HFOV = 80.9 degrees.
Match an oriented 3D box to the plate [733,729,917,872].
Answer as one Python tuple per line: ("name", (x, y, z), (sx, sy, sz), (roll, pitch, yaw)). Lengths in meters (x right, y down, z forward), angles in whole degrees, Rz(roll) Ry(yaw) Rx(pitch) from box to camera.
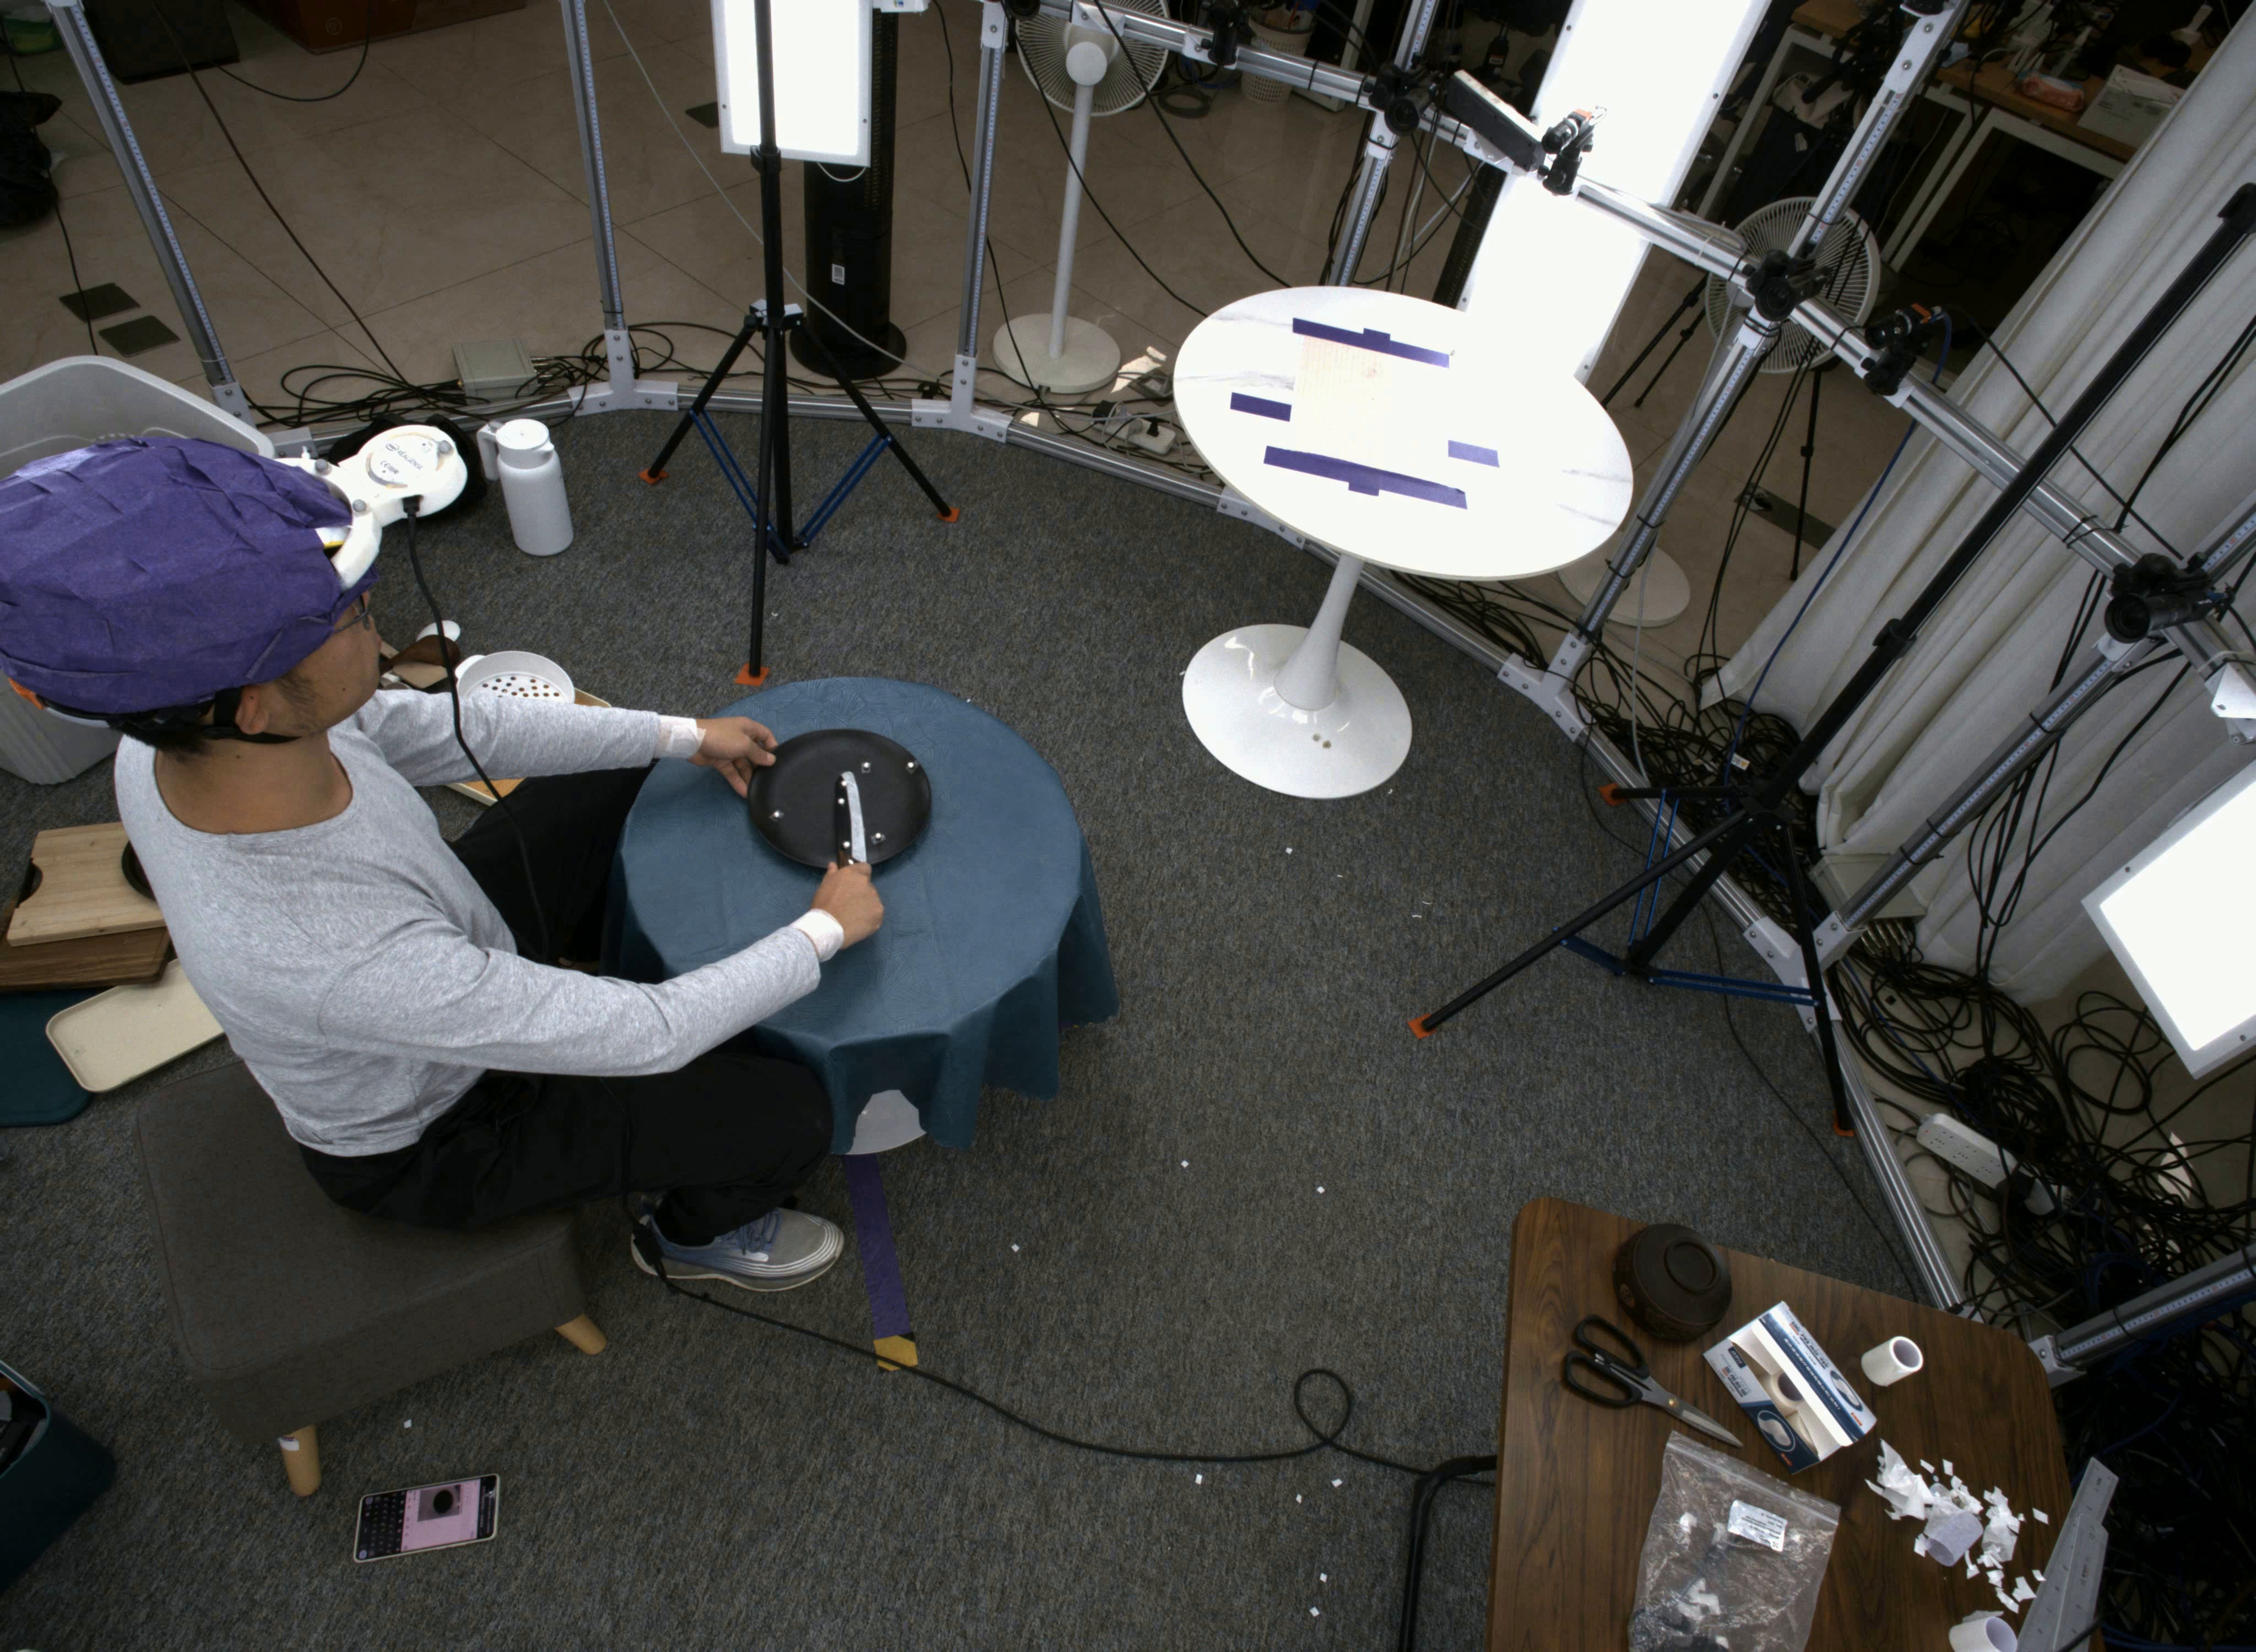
("plate", (-0.407, -0.033, 1.749), (0.244, 0.024, 0.240), (8, 53, -9))

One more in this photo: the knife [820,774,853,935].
("knife", (-0.377, 0.028, 1.681), (0.052, 0.020, 0.281), (32, 31, -38))
